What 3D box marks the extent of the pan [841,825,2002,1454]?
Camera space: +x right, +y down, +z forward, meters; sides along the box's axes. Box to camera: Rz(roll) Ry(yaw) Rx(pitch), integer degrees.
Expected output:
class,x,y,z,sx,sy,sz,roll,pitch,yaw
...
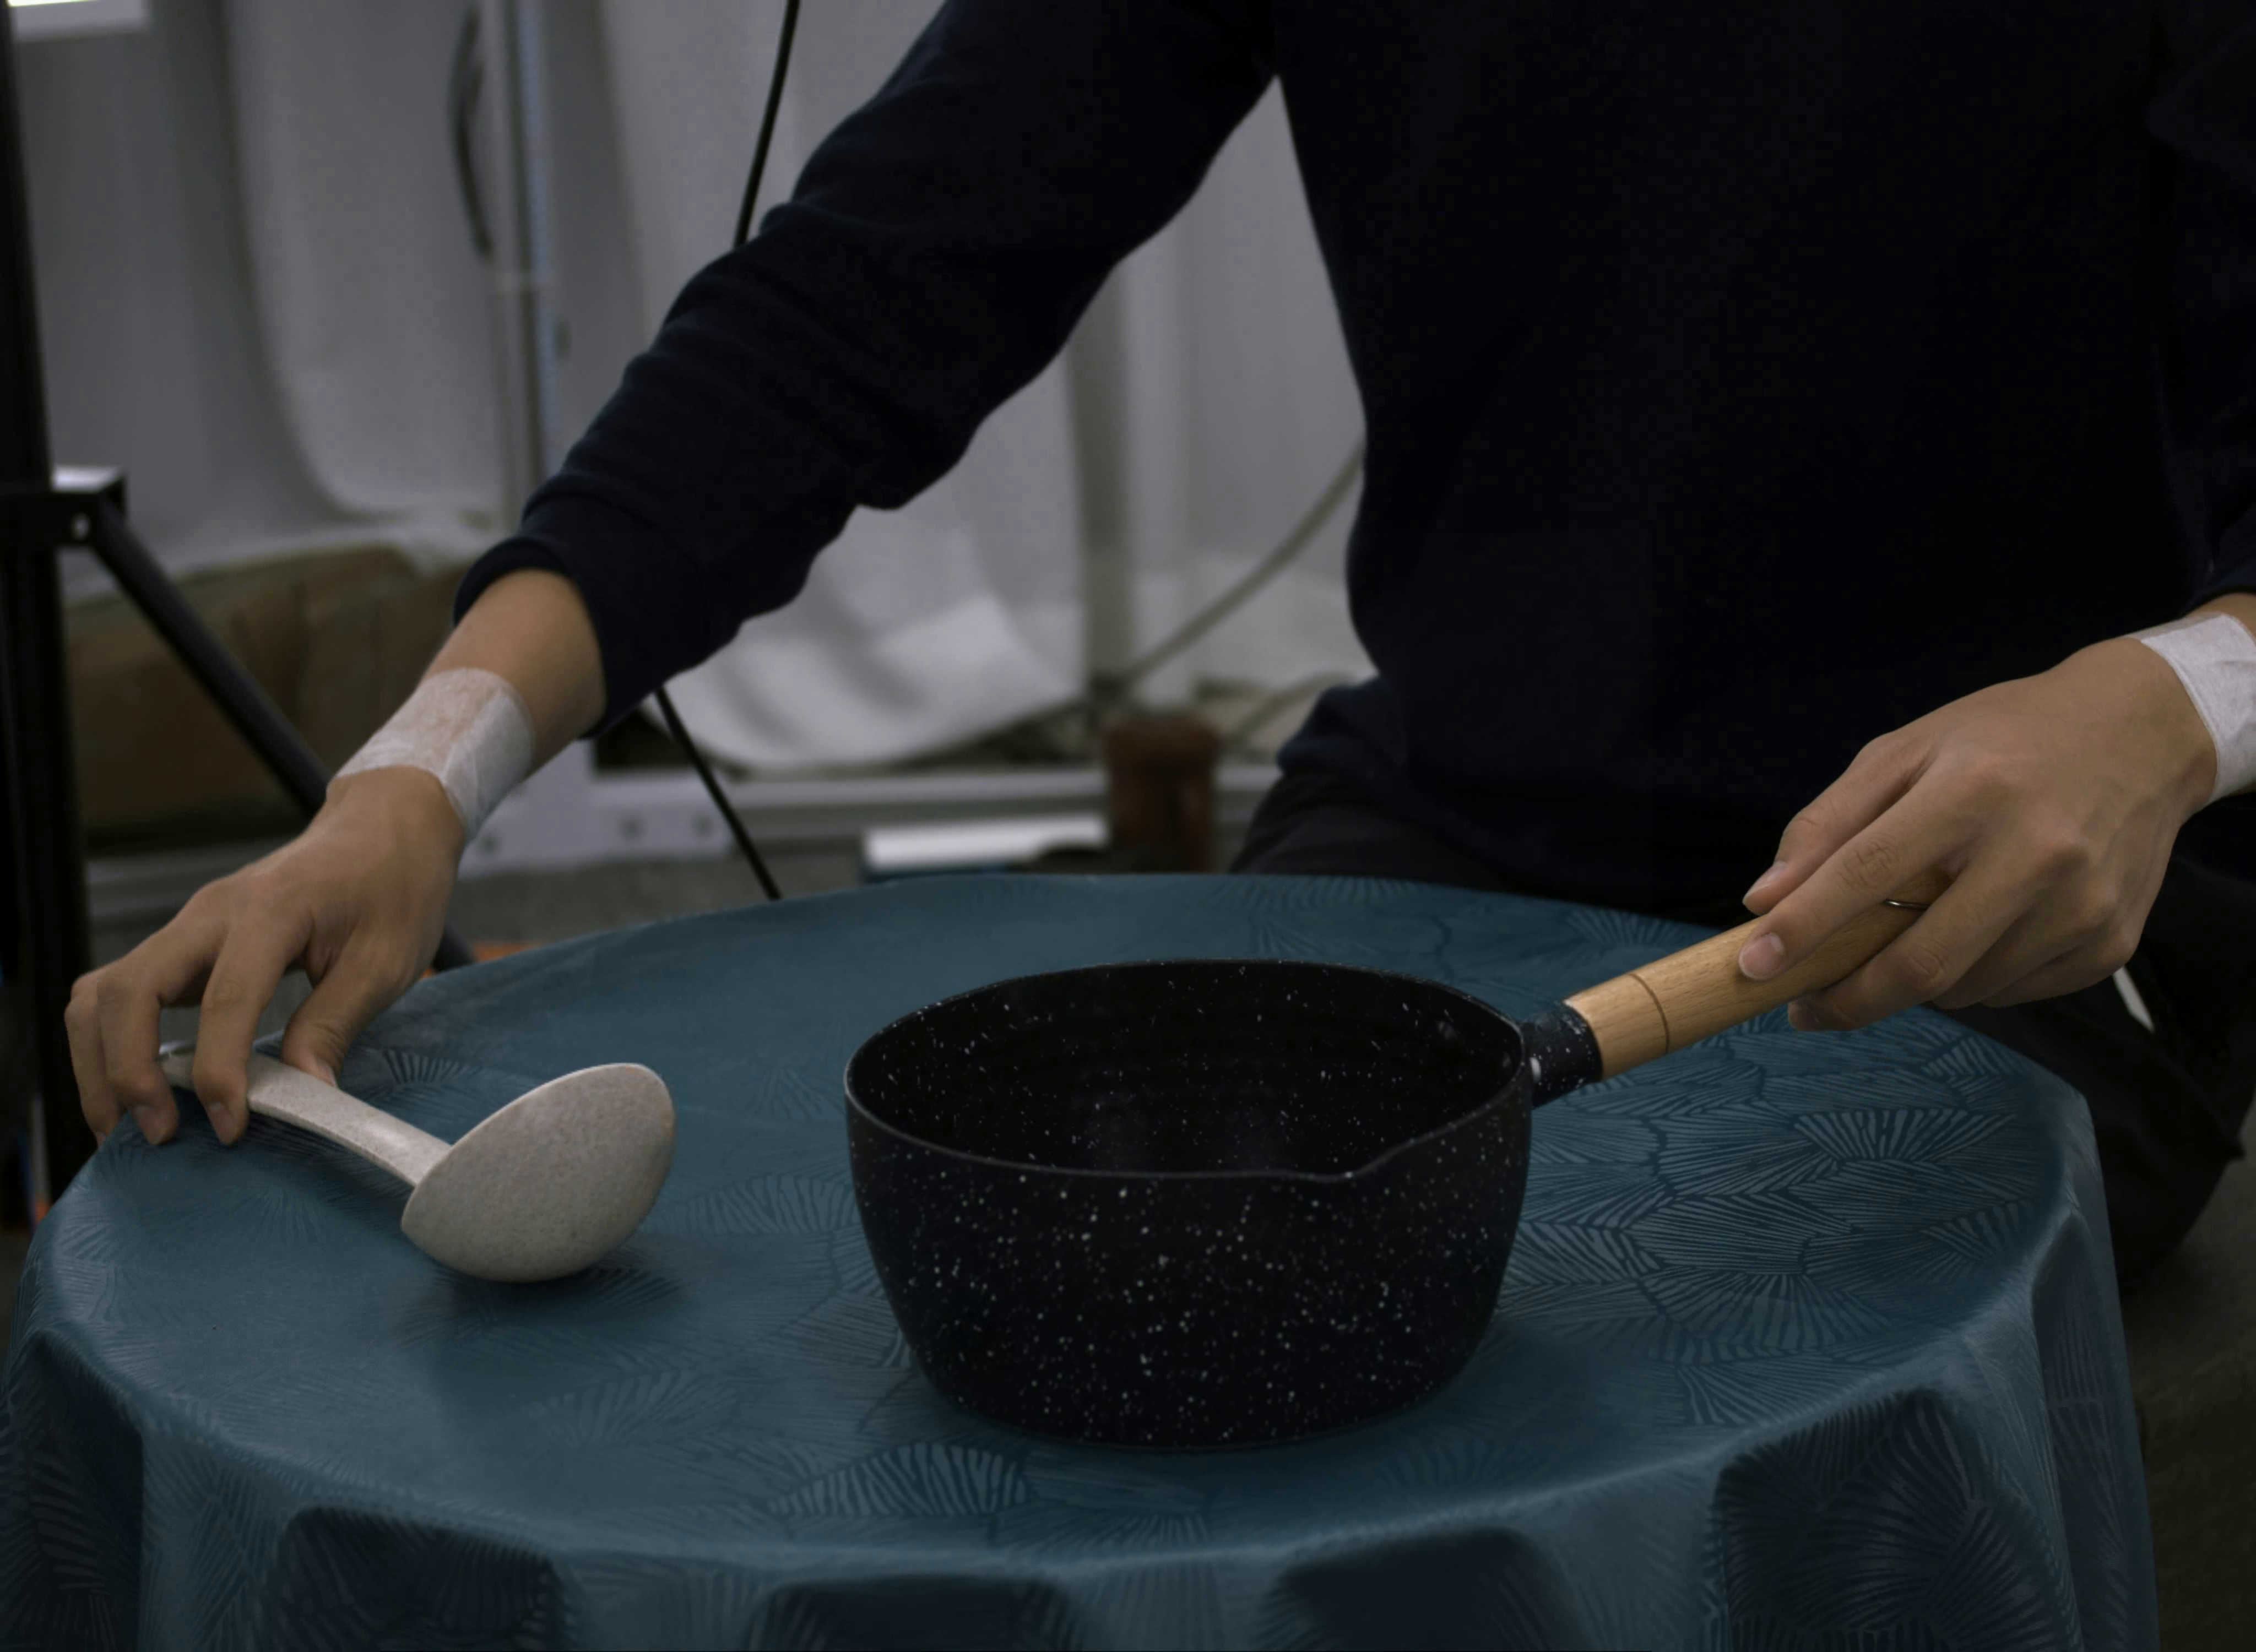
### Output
class,x,y,z,sx,sy,sz,roll,pitch,yaw
pan,0.089,0.079,1.447,0.336,0.108,0.211,-11,16,-21

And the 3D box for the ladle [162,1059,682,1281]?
class,x,y,z,sx,sy,sz,roll,pitch,yaw
ladle,-0.227,0.075,1.593,0.087,0.069,0.281,-19,21,-31
